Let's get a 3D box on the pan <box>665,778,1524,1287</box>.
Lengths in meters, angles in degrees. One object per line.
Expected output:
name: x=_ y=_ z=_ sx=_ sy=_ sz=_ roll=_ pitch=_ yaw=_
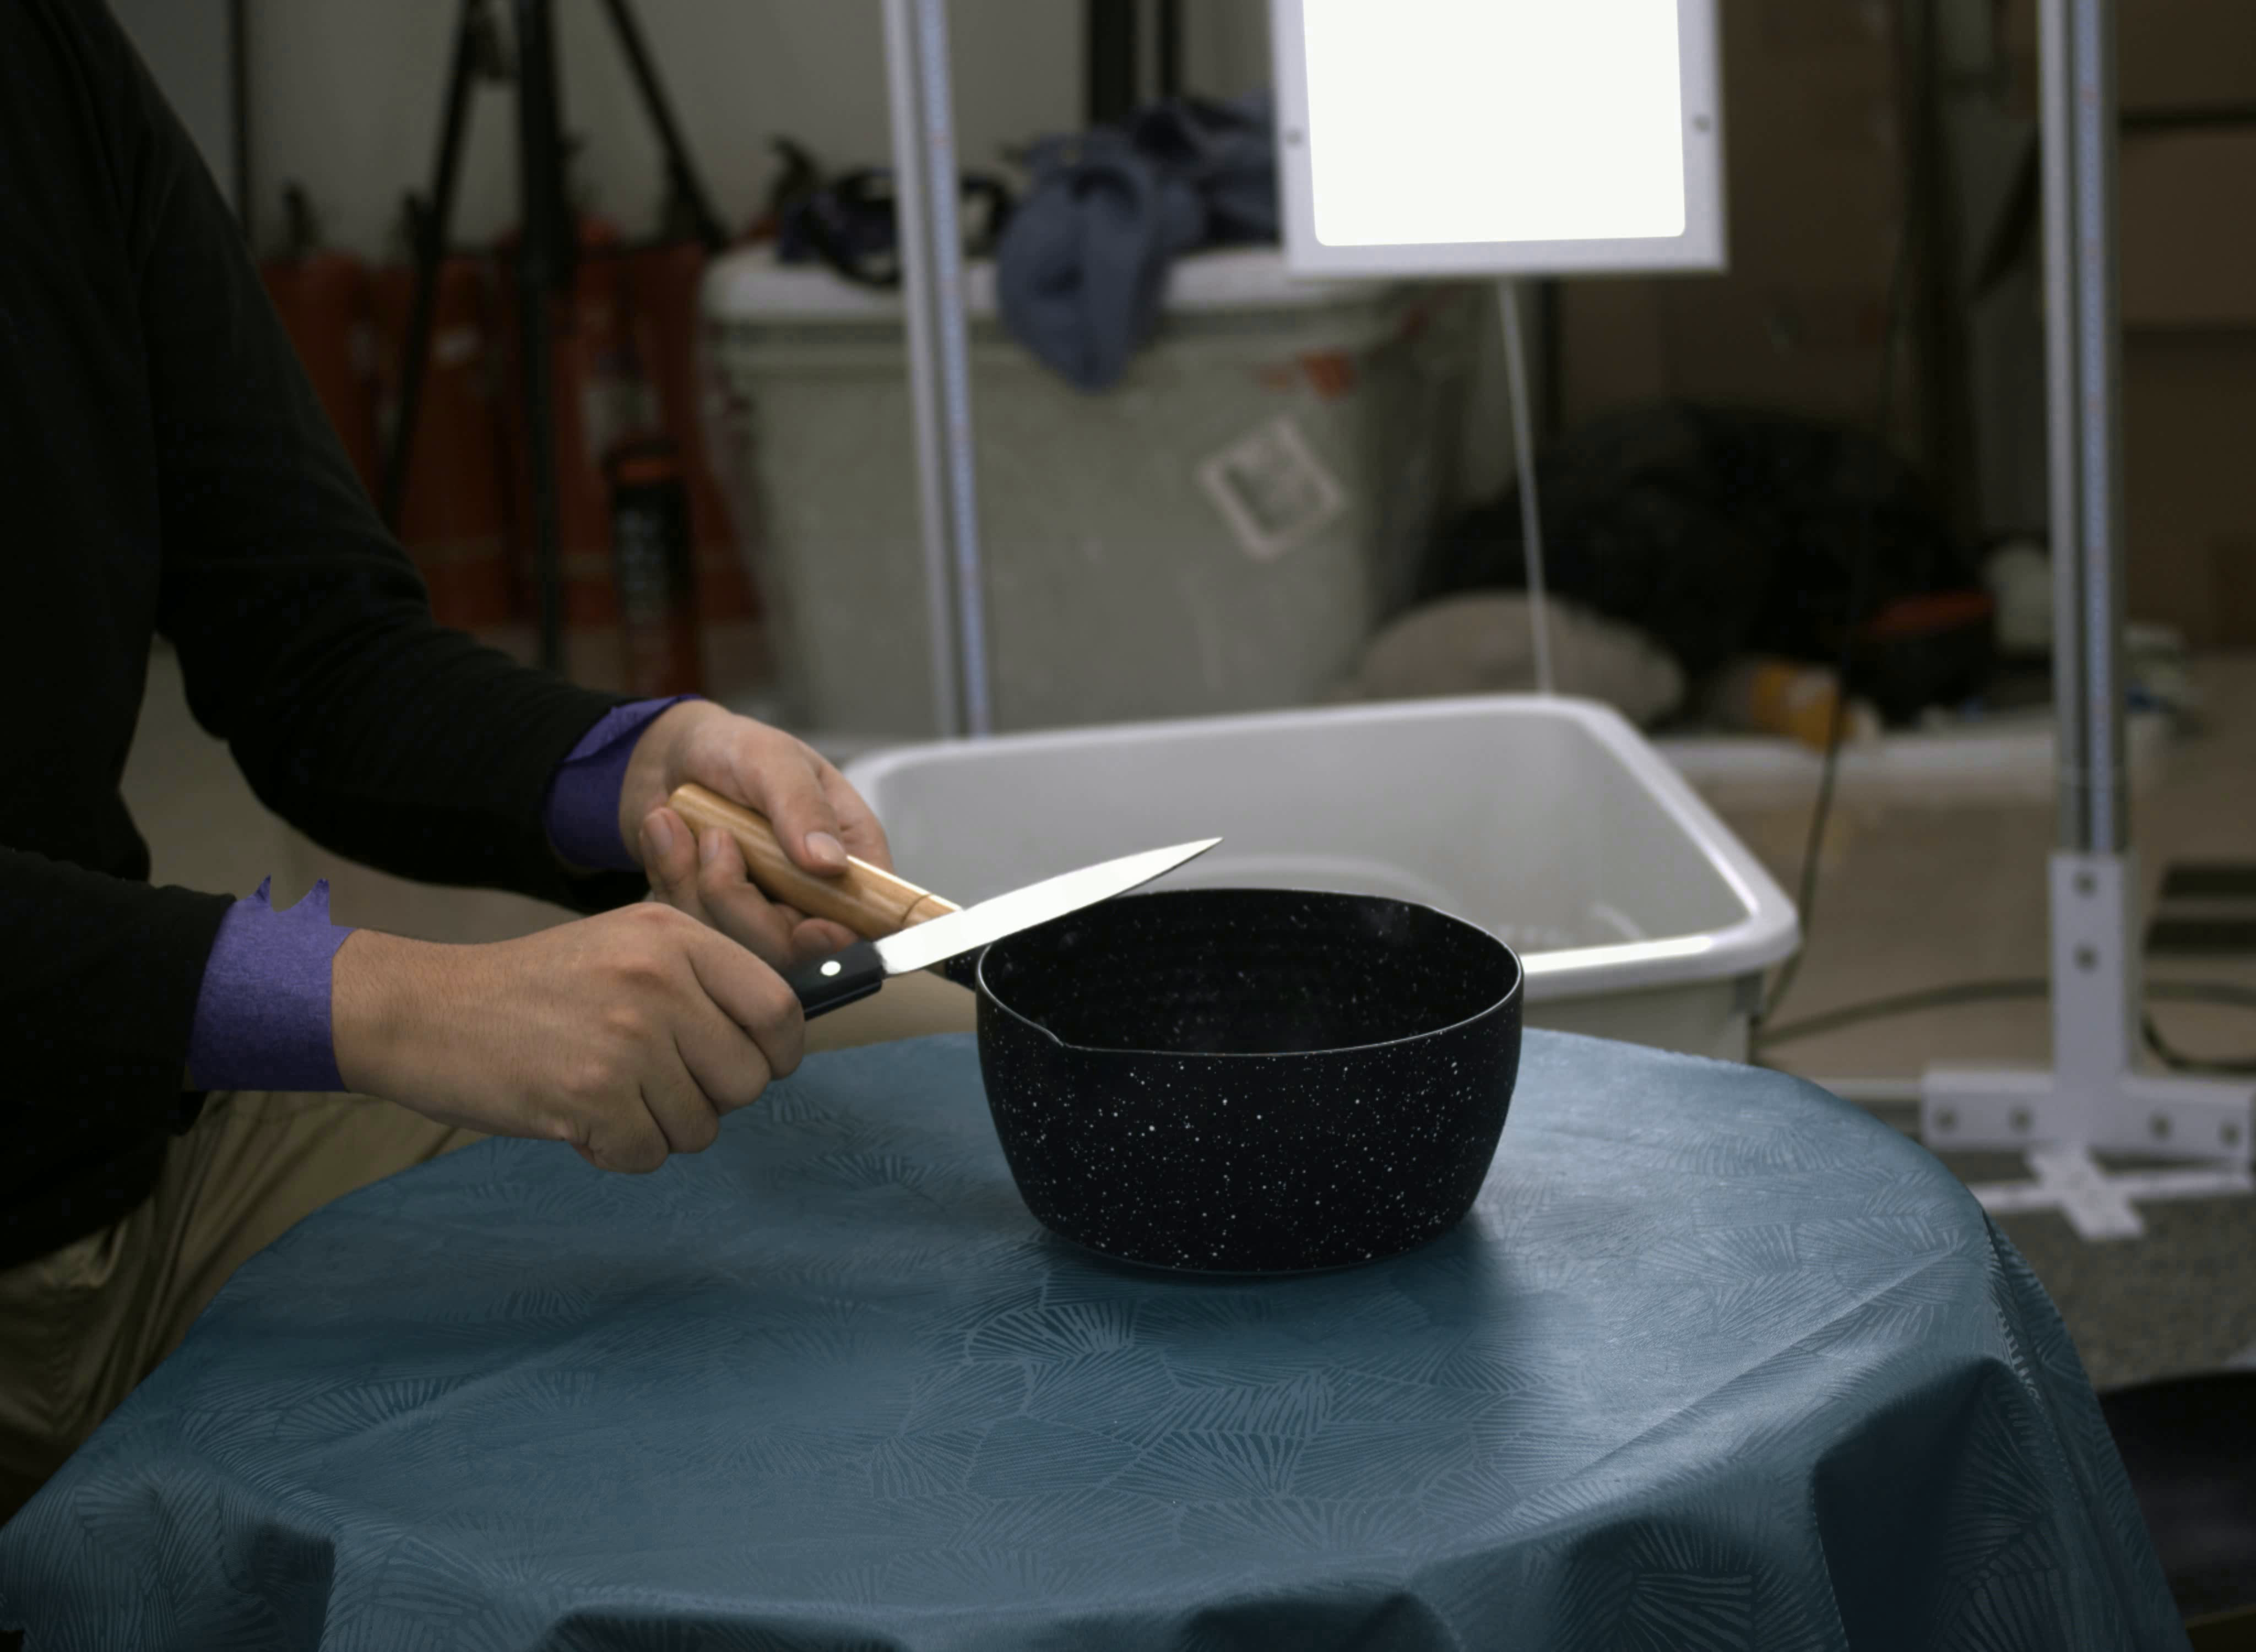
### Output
pan: x=-0.025 y=0.065 z=1.890 sx=0.349 sy=0.109 sz=0.202 roll=12 pitch=21 yaw=34

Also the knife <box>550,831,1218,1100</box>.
knife: x=-0.079 y=0.045 z=1.840 sx=0.237 sy=0.016 sz=0.024 roll=-20 pitch=40 yaw=-4
